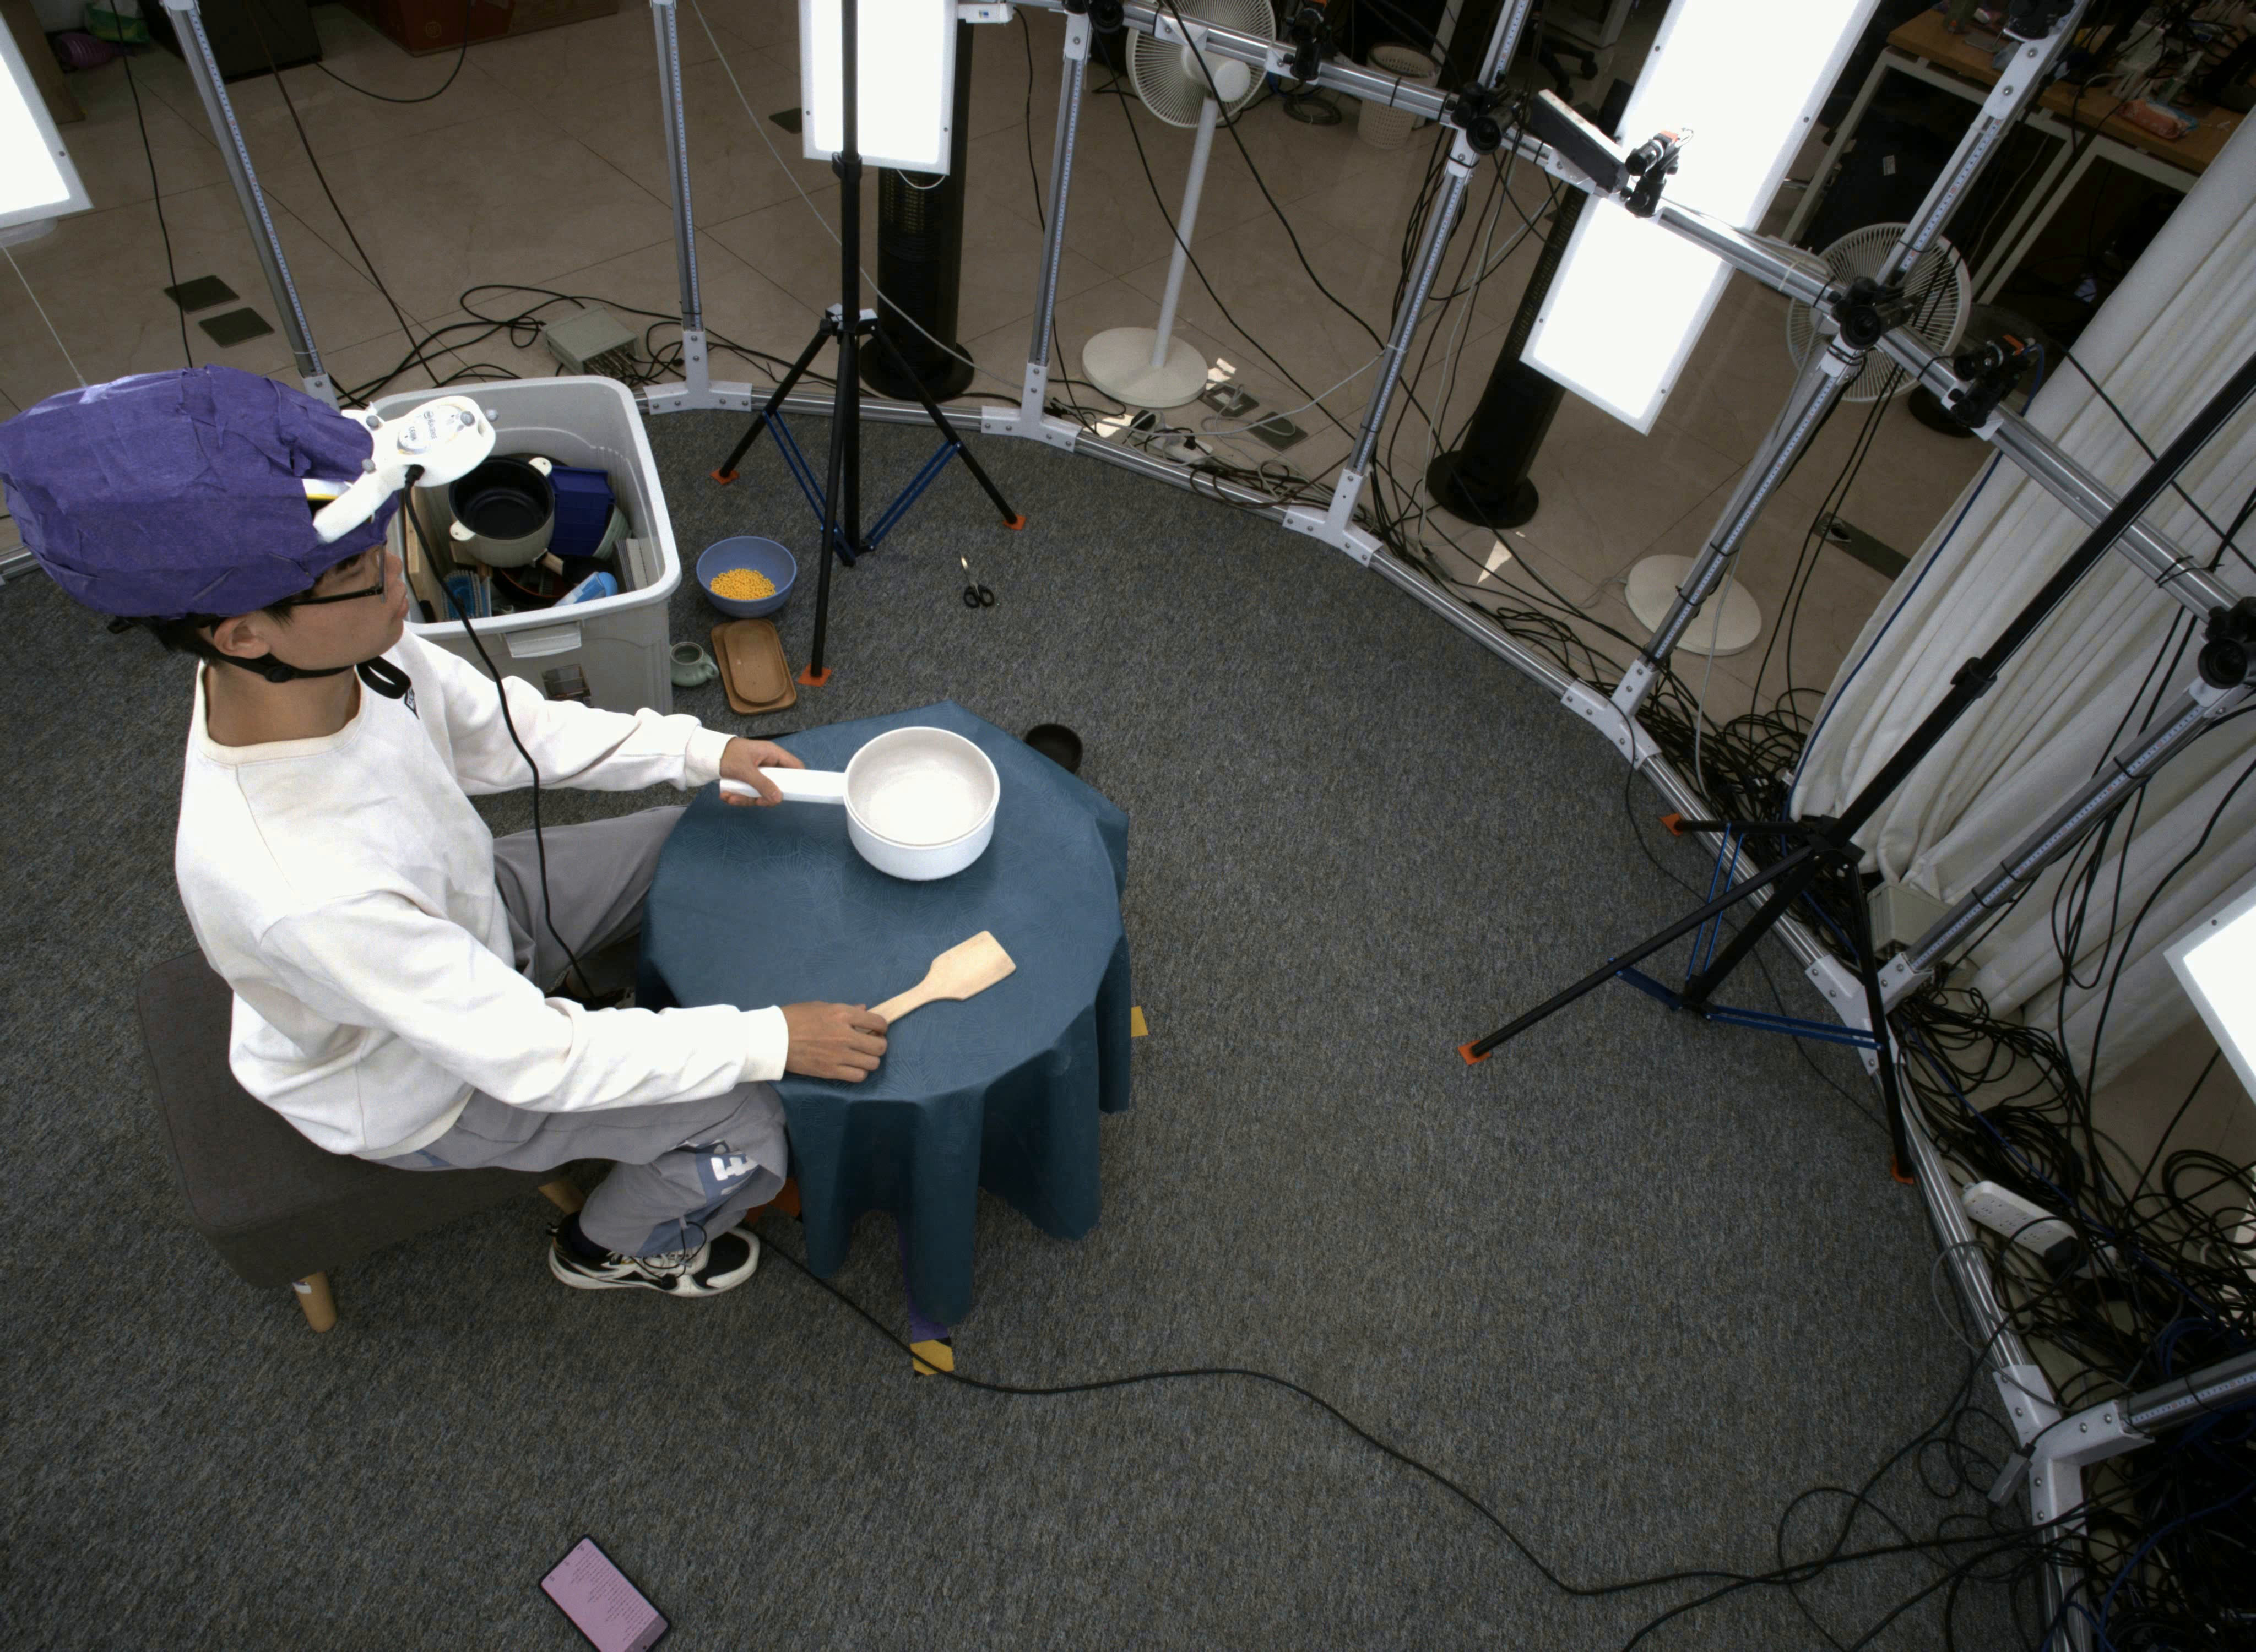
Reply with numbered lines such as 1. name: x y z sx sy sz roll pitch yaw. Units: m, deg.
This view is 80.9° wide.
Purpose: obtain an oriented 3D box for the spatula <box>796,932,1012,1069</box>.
1. spatula: -0.276 0.218 1.600 0.294 0.011 0.070 -28 65 -31

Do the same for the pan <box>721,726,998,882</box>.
1. pan: -0.349 -0.028 1.713 0.353 0.104 0.197 3 54 -8
